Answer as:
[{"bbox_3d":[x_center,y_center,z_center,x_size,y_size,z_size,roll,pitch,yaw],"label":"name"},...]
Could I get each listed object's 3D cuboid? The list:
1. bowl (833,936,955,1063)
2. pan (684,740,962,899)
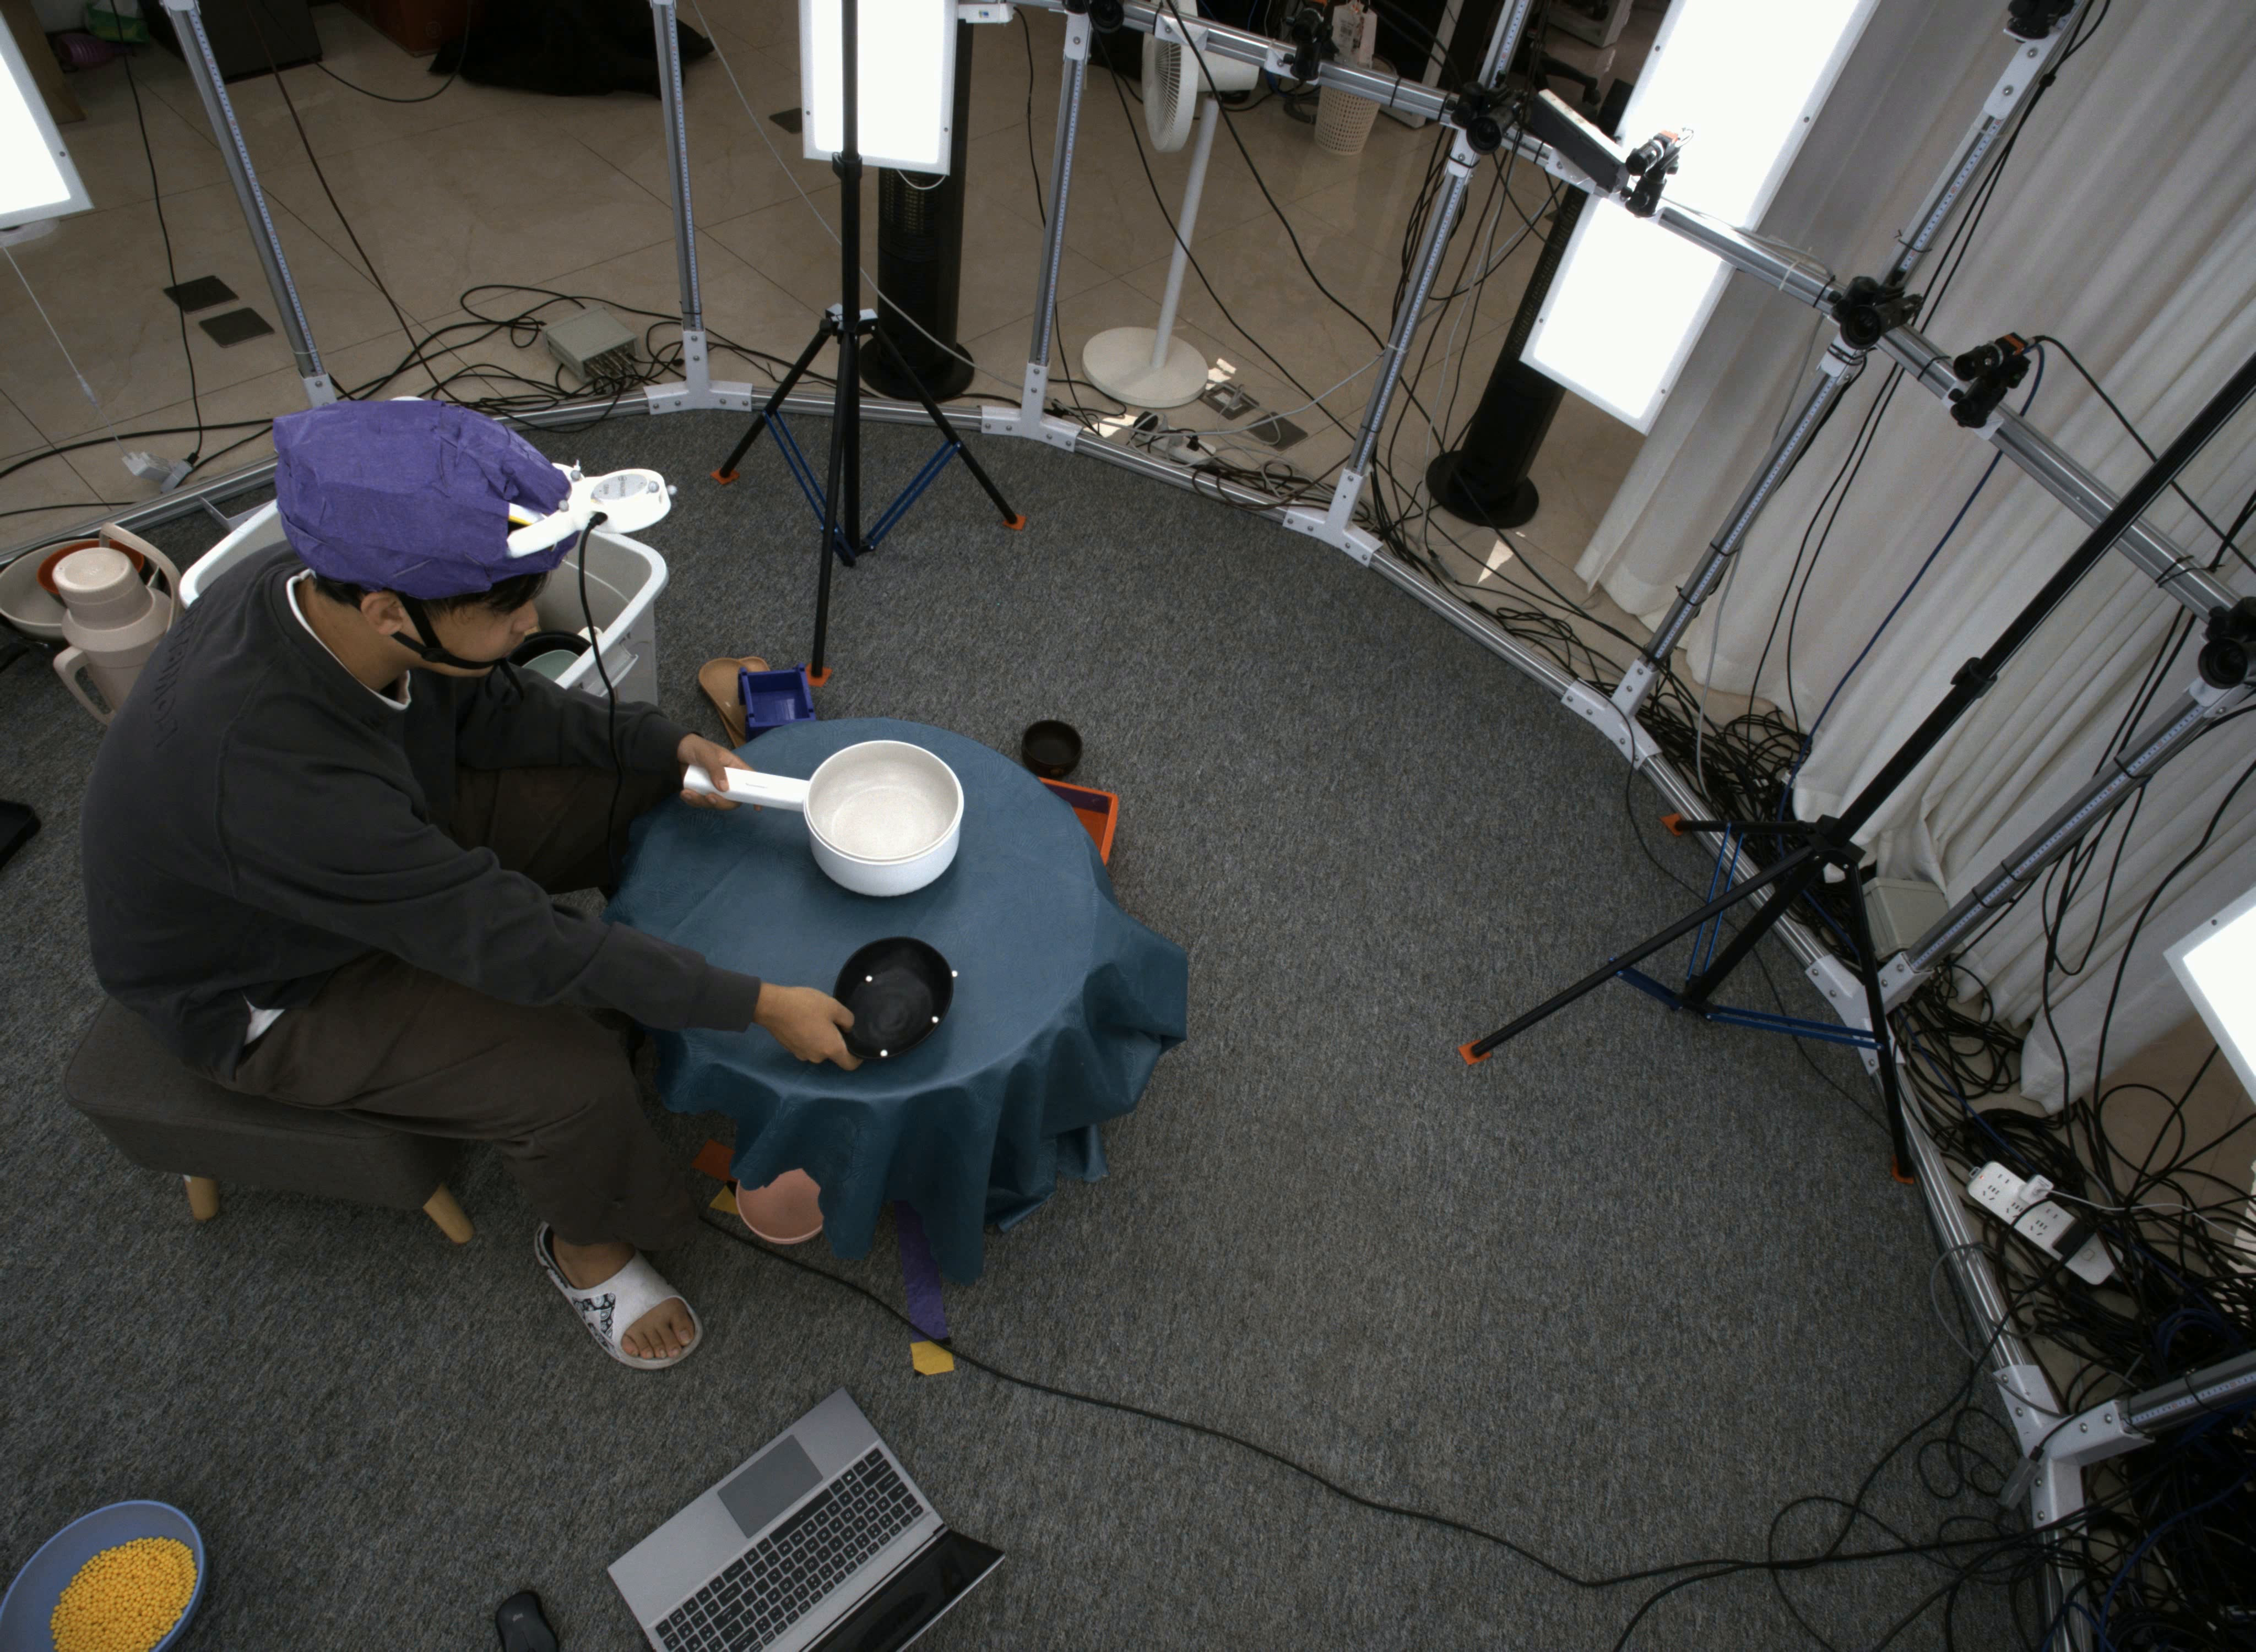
[{"bbox_3d":[-0.280,0.214,1.554,0.136,0.068,0.168,19,53,2],"label":"bowl"},{"bbox_3d":[-0.391,-0.015,1.683,0.352,0.104,0.198,8,54,-4],"label":"pan"}]
